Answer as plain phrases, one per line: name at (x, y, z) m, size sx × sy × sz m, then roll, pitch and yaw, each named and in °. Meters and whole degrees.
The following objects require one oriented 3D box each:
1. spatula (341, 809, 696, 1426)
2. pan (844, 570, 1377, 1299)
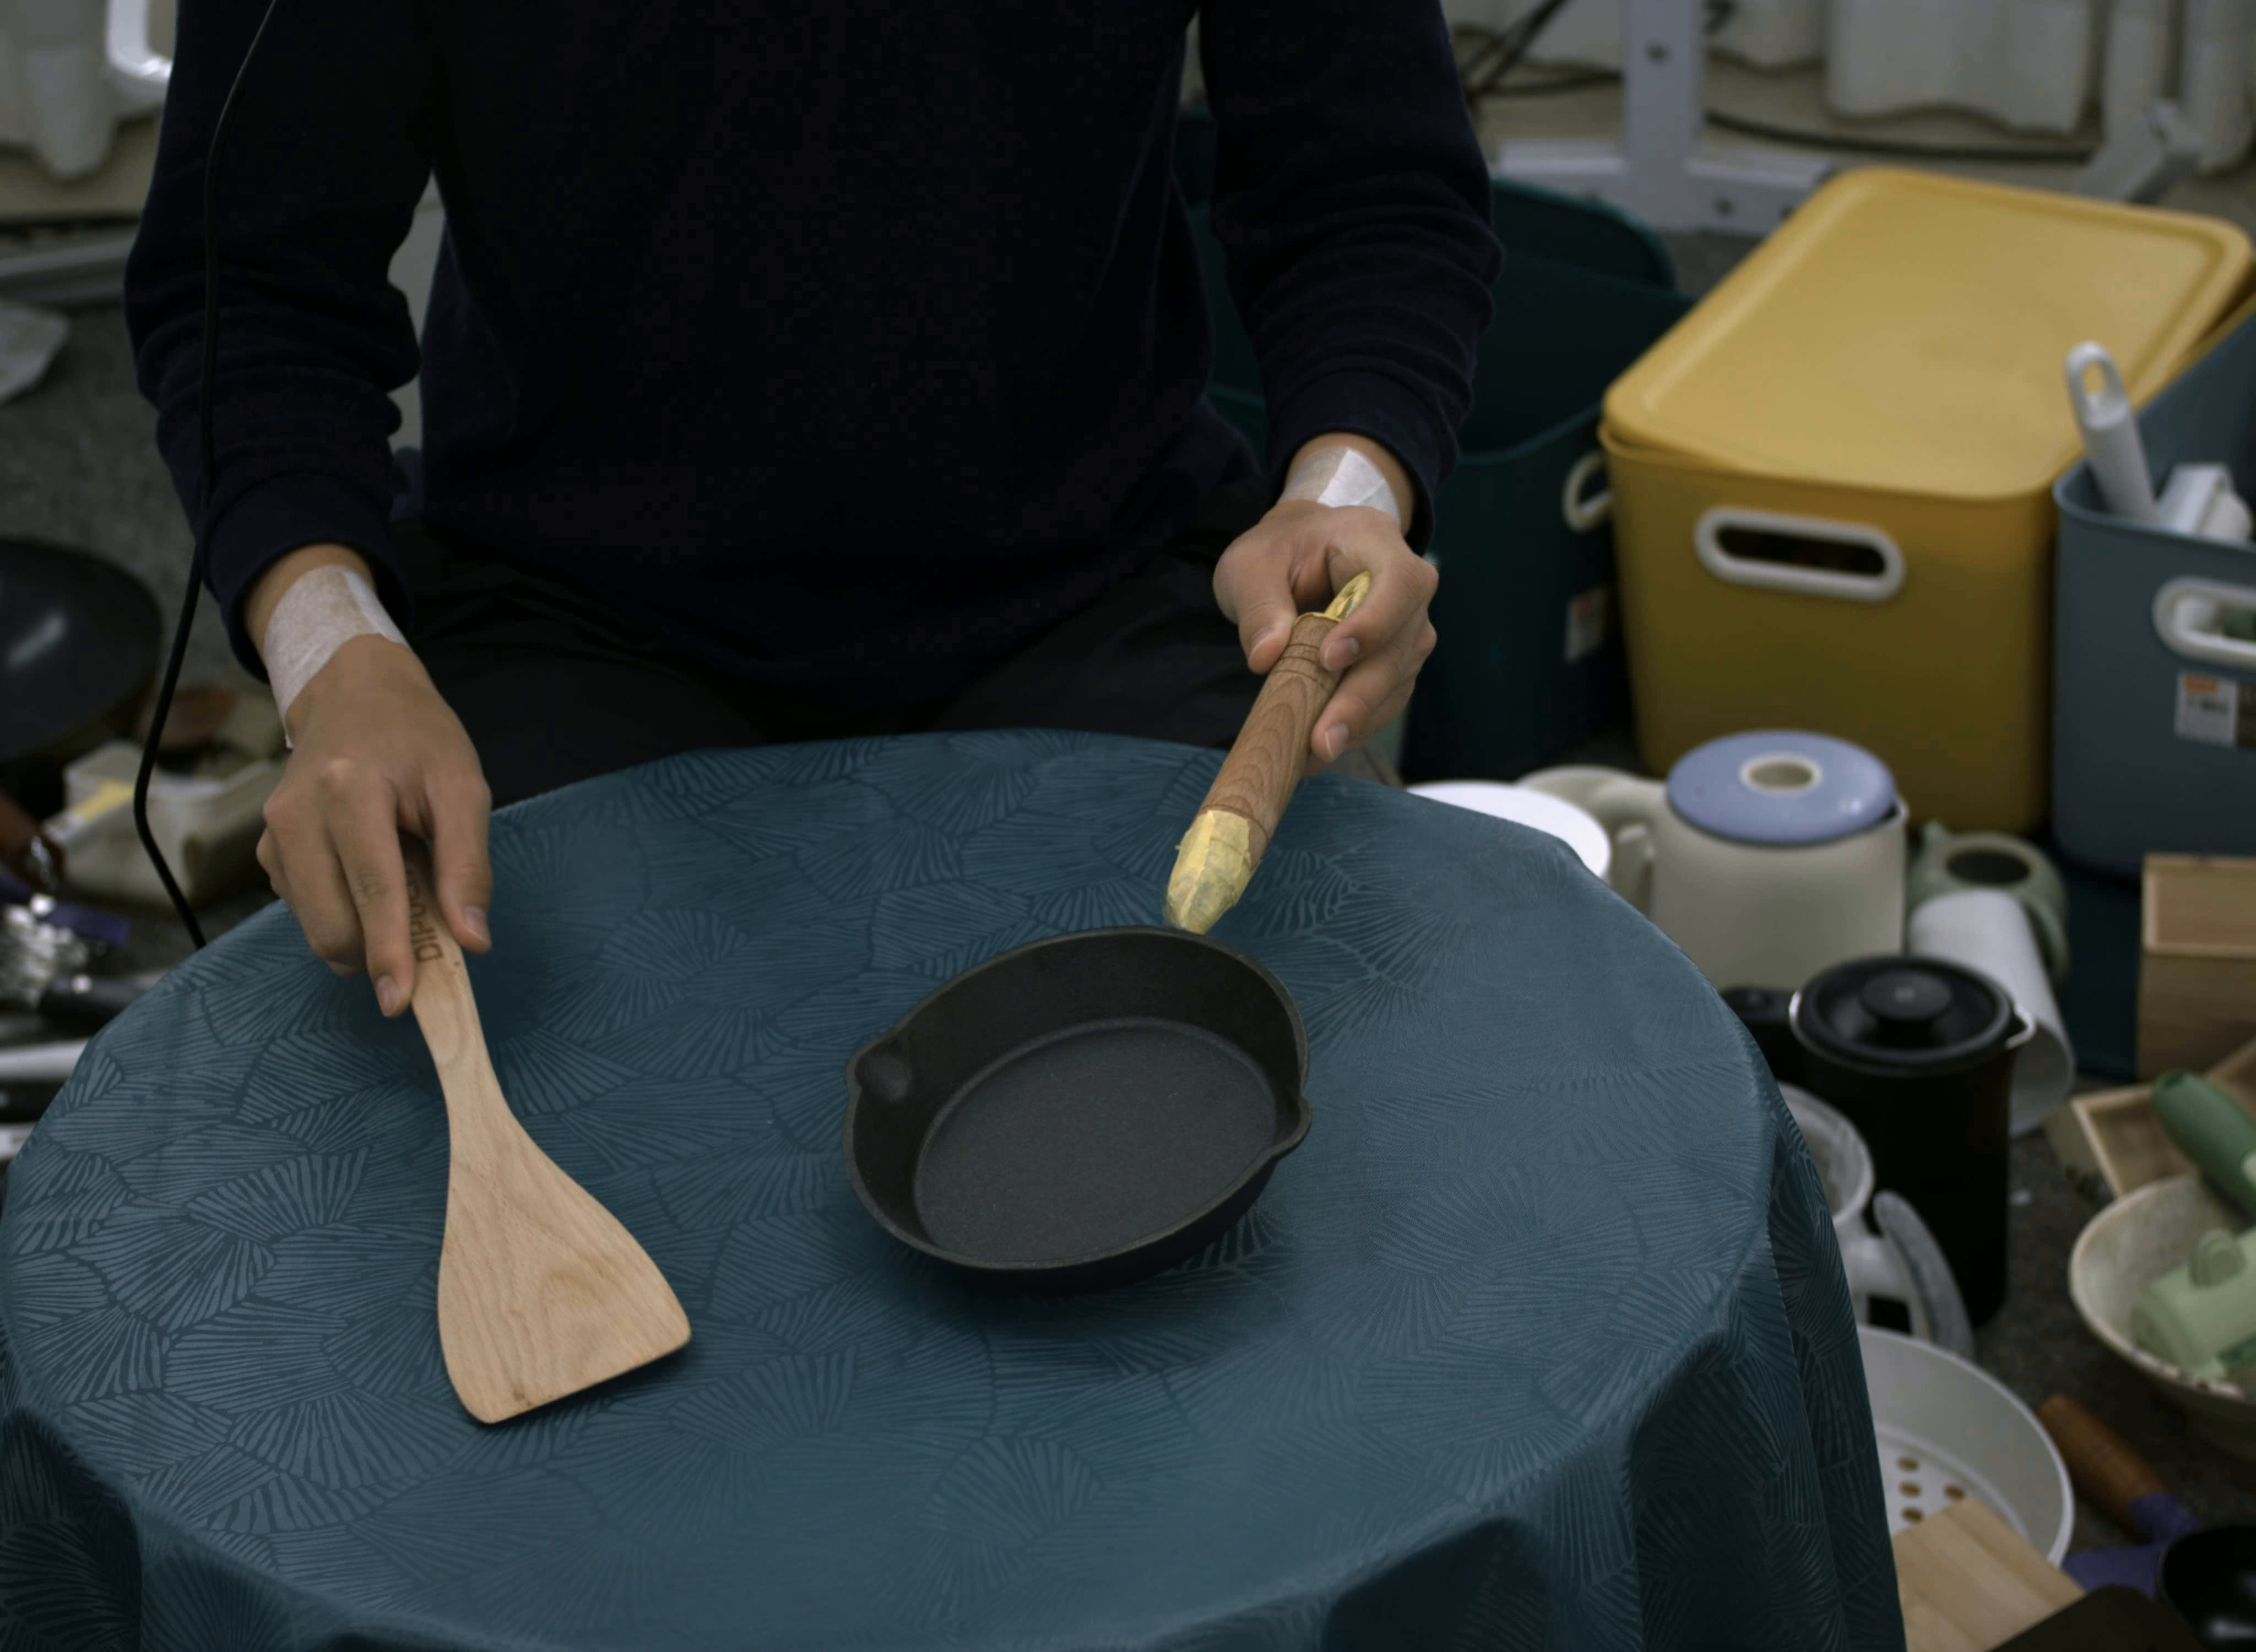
spatula at (-0.219, 0.089, 1.883) m, size 0.080 × 0.016 × 0.332 m, roll -14°, pitch 40°, yaw -12°
pan at (0.020, 0.035, 1.888) m, size 0.168 × 0.049 × 0.330 m, roll 8°, pitch 47°, yaw 28°
